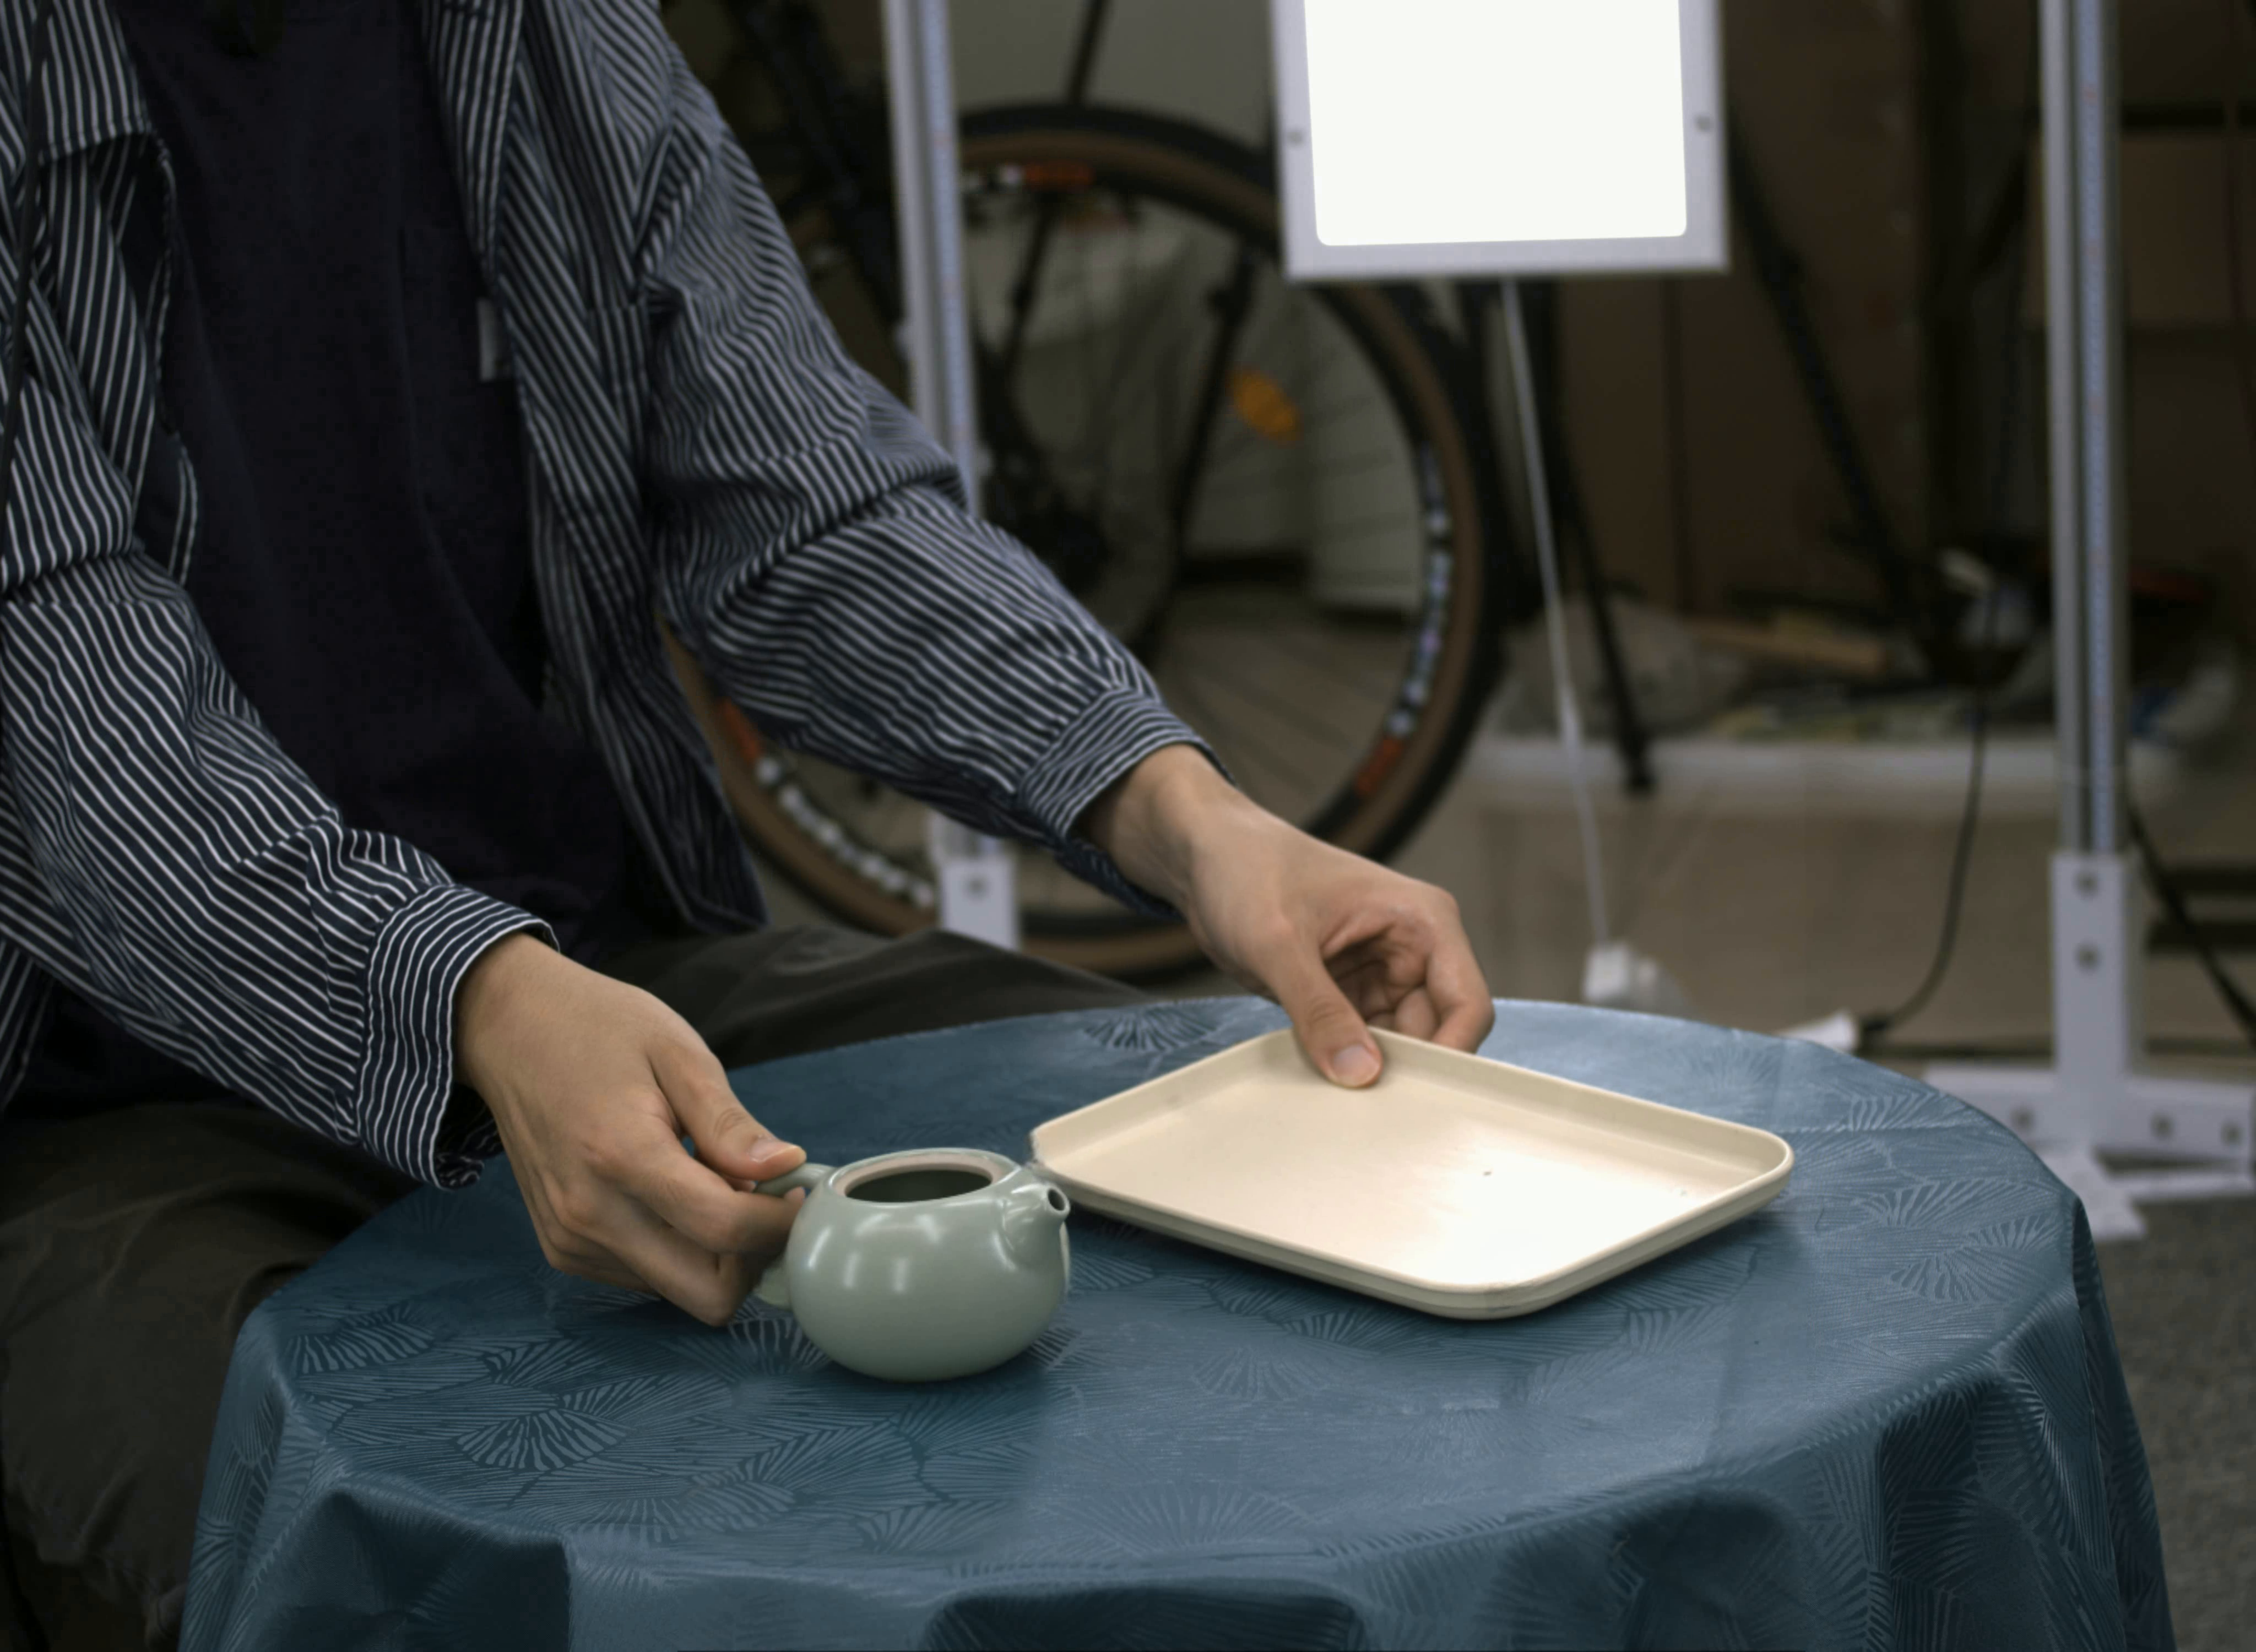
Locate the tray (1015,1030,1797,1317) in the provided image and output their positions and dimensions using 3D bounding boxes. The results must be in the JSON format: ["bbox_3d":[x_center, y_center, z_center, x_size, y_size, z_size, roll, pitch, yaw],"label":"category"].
[{"bbox_3d":[0.092,0.115,1.845,0.167,0.017,0.245,-18,21,-40],"label":"tray"}]

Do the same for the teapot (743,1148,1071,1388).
[{"bbox_3d":[-0.071,0.139,1.746,0.131,0.061,0.089,5,19,37],"label":"teapot"}]
